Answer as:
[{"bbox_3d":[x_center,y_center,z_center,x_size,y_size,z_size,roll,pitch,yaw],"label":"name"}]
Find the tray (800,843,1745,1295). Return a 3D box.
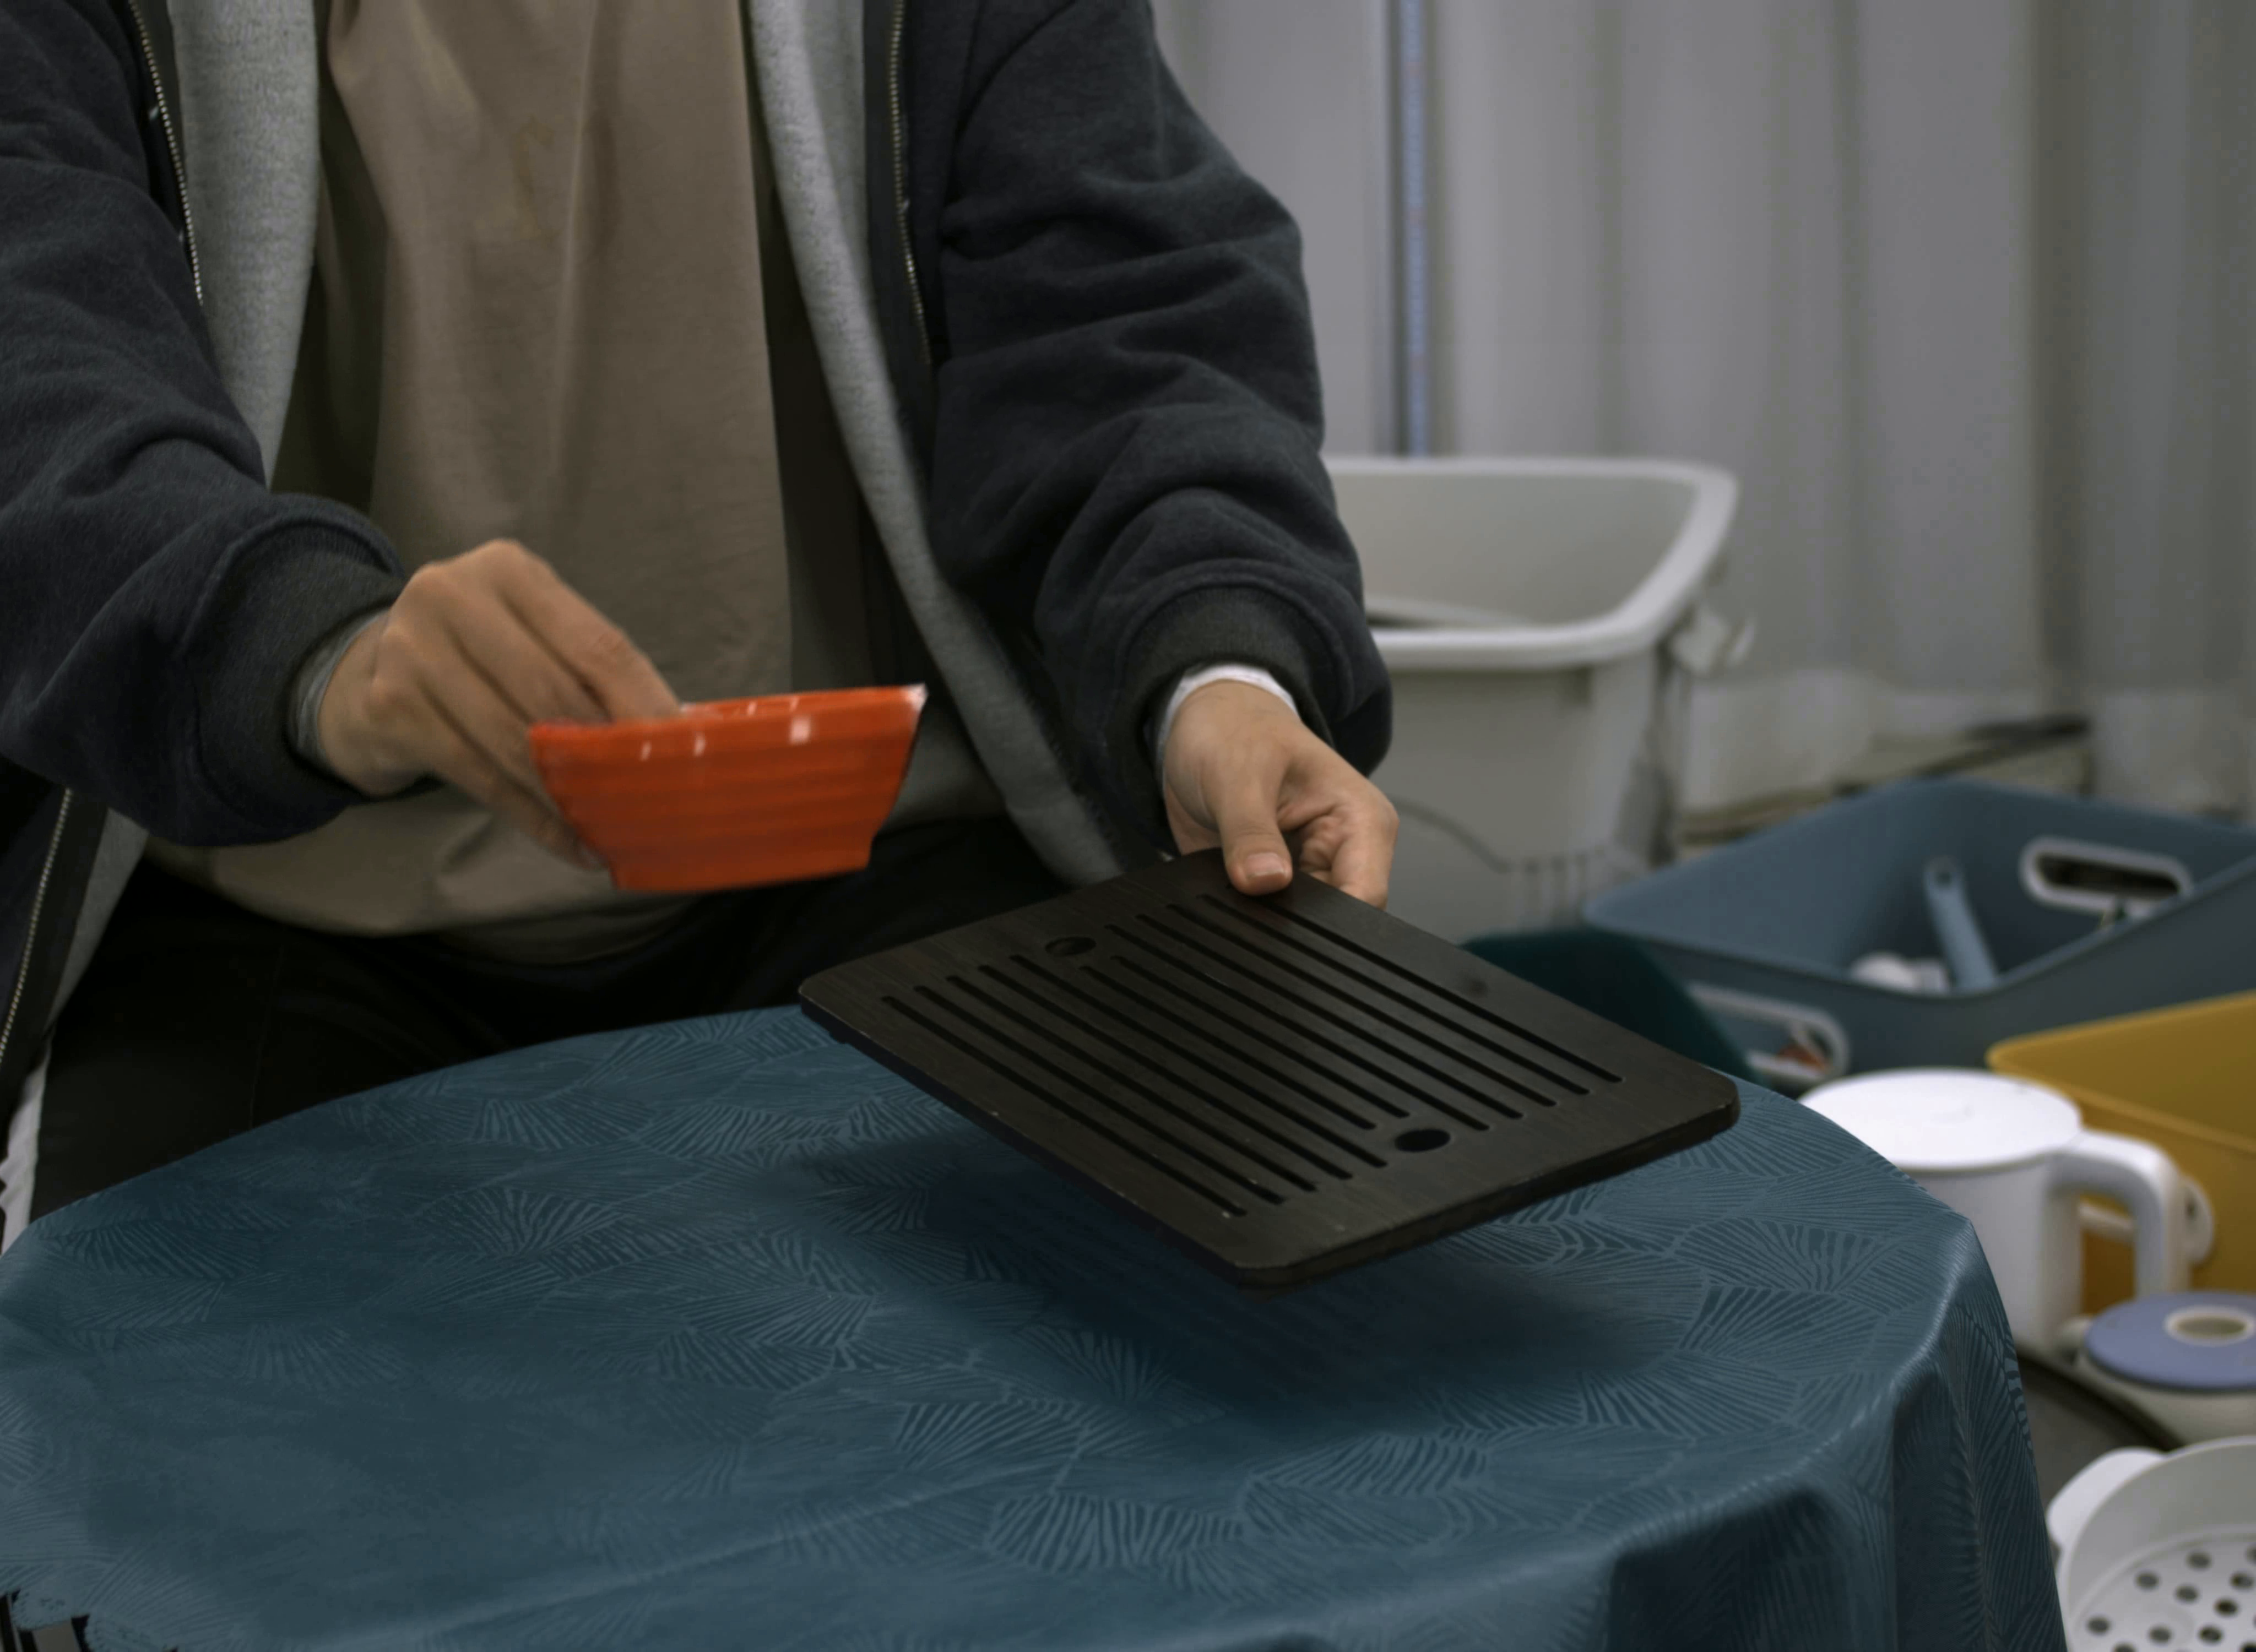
[{"bbox_3d":[0.037,0.069,1.661,0.170,0.018,0.308,-17,21,-24],"label":"tray"}]

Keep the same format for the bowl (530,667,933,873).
[{"bbox_3d":[-0.112,-0.016,1.581,0.118,0.051,0.119,-5,5,0],"label":"bowl"}]
